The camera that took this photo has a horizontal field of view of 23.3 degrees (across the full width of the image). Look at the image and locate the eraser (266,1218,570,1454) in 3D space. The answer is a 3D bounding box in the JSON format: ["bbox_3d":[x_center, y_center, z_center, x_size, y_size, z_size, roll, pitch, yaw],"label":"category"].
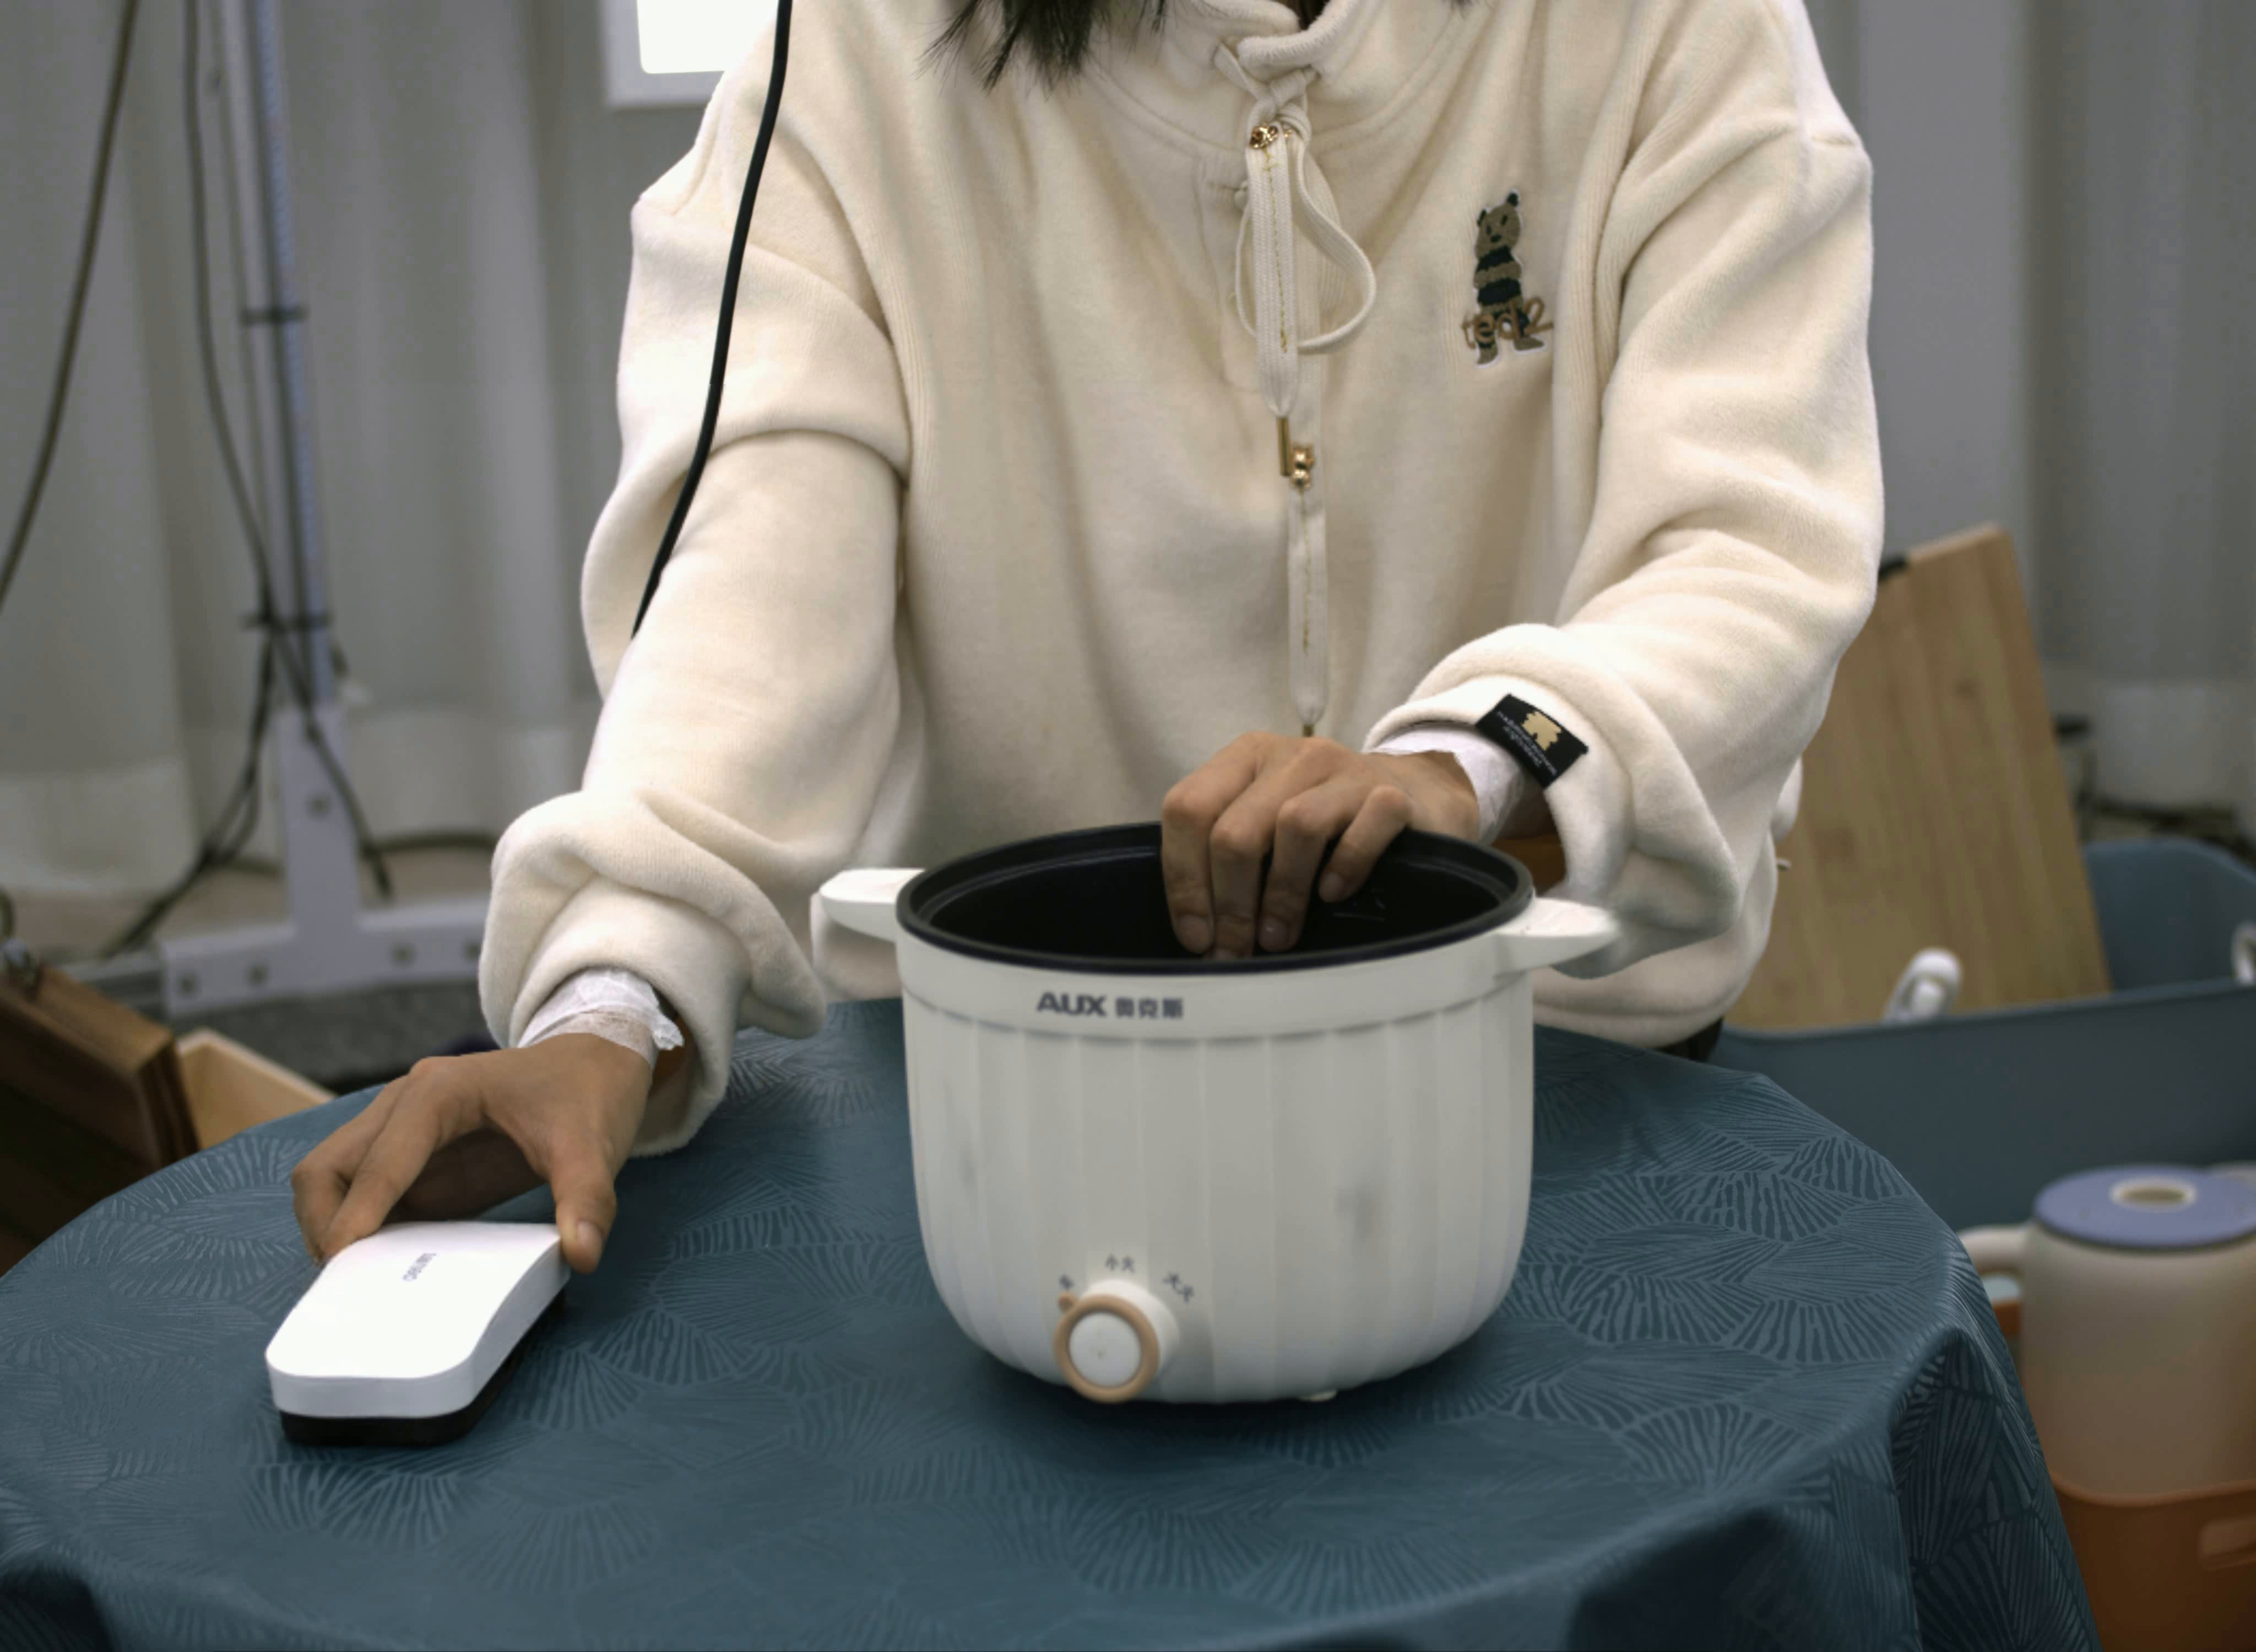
[{"bbox_3d":[-0.203,0.144,1.586,0.063,0.034,0.132,2,16,10],"label":"eraser"}]

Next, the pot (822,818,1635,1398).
[{"bbox_3d":[0.027,0.082,1.553,0.240,0.142,0.190,1,8,20],"label":"pot"}]
